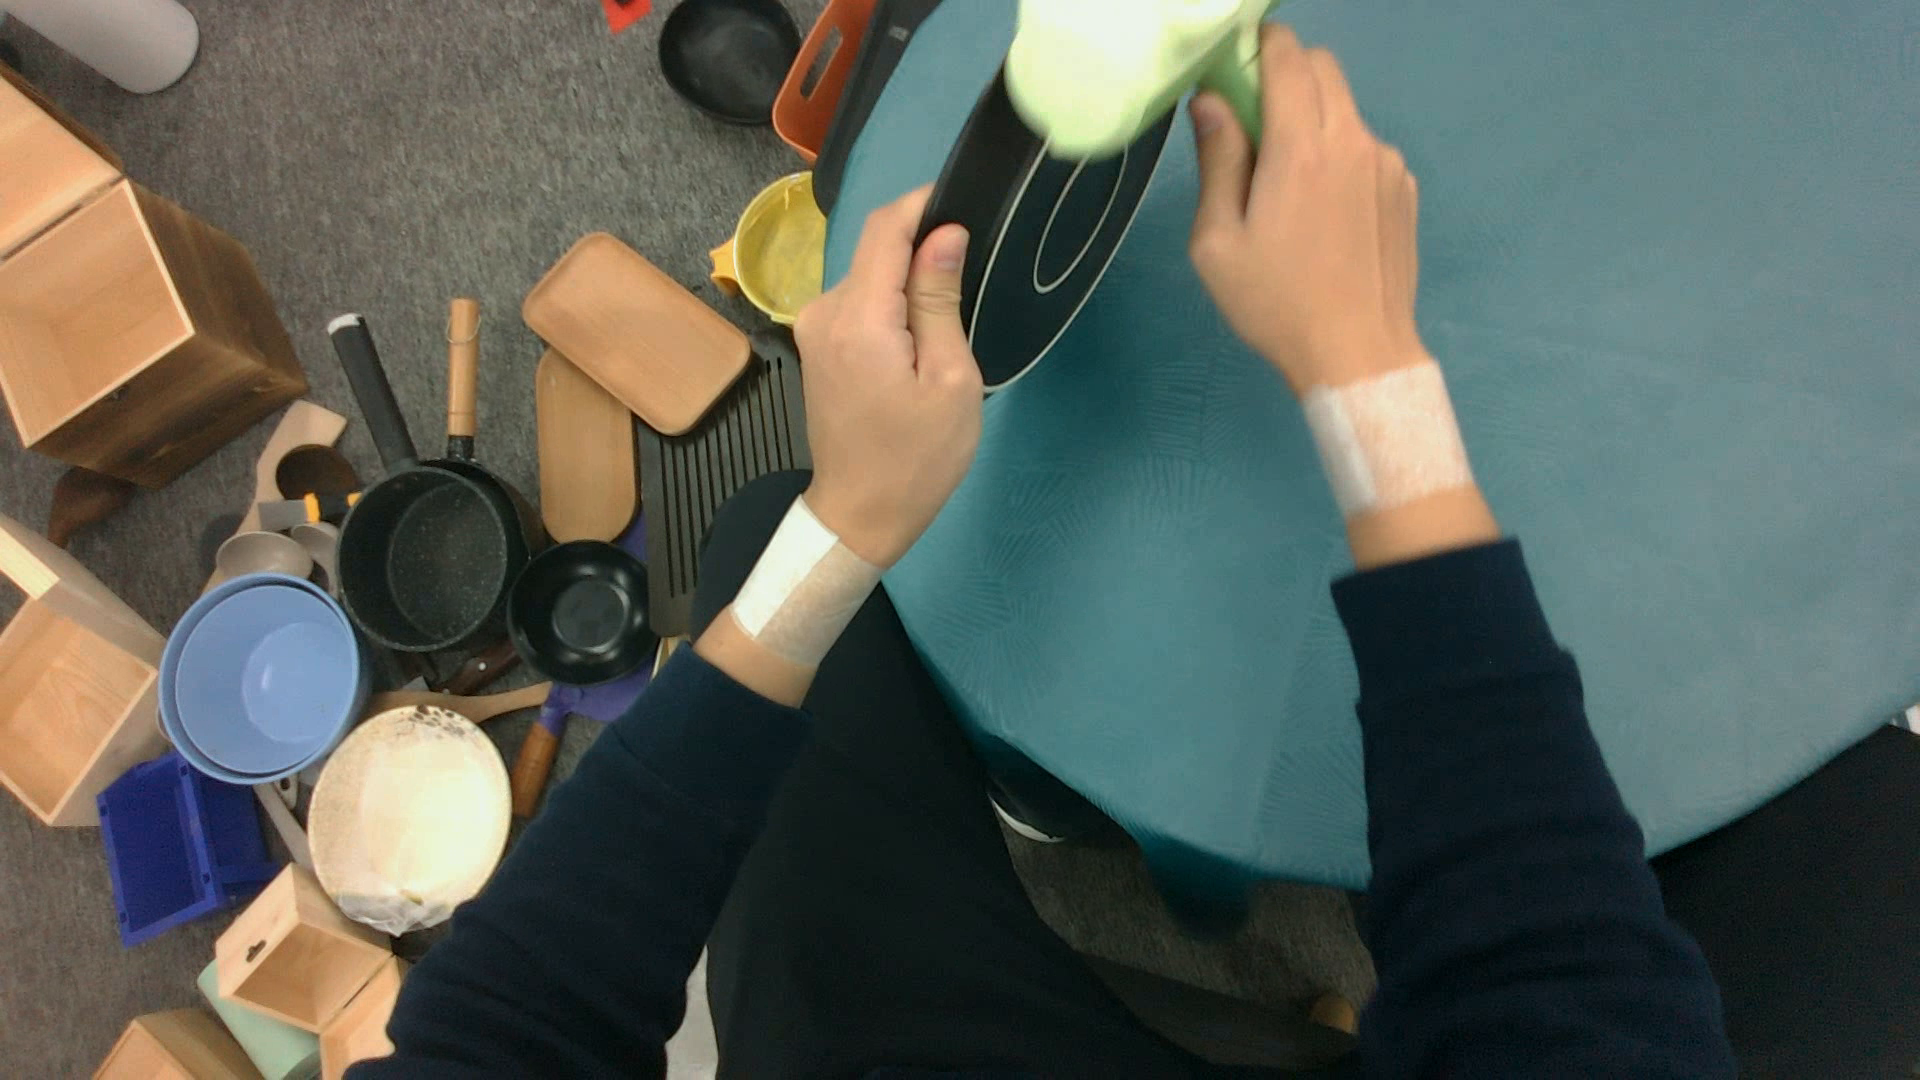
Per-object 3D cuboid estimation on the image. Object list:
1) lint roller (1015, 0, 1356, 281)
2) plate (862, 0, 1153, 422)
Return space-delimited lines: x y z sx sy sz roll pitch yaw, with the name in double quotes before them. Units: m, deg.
"lint roller" 0.124 -0.189 0.542 0.183 0.082 0.199 50 48 -12
"plate" 0.033 -0.157 0.609 0.023 0.244 0.244 29 85 13
